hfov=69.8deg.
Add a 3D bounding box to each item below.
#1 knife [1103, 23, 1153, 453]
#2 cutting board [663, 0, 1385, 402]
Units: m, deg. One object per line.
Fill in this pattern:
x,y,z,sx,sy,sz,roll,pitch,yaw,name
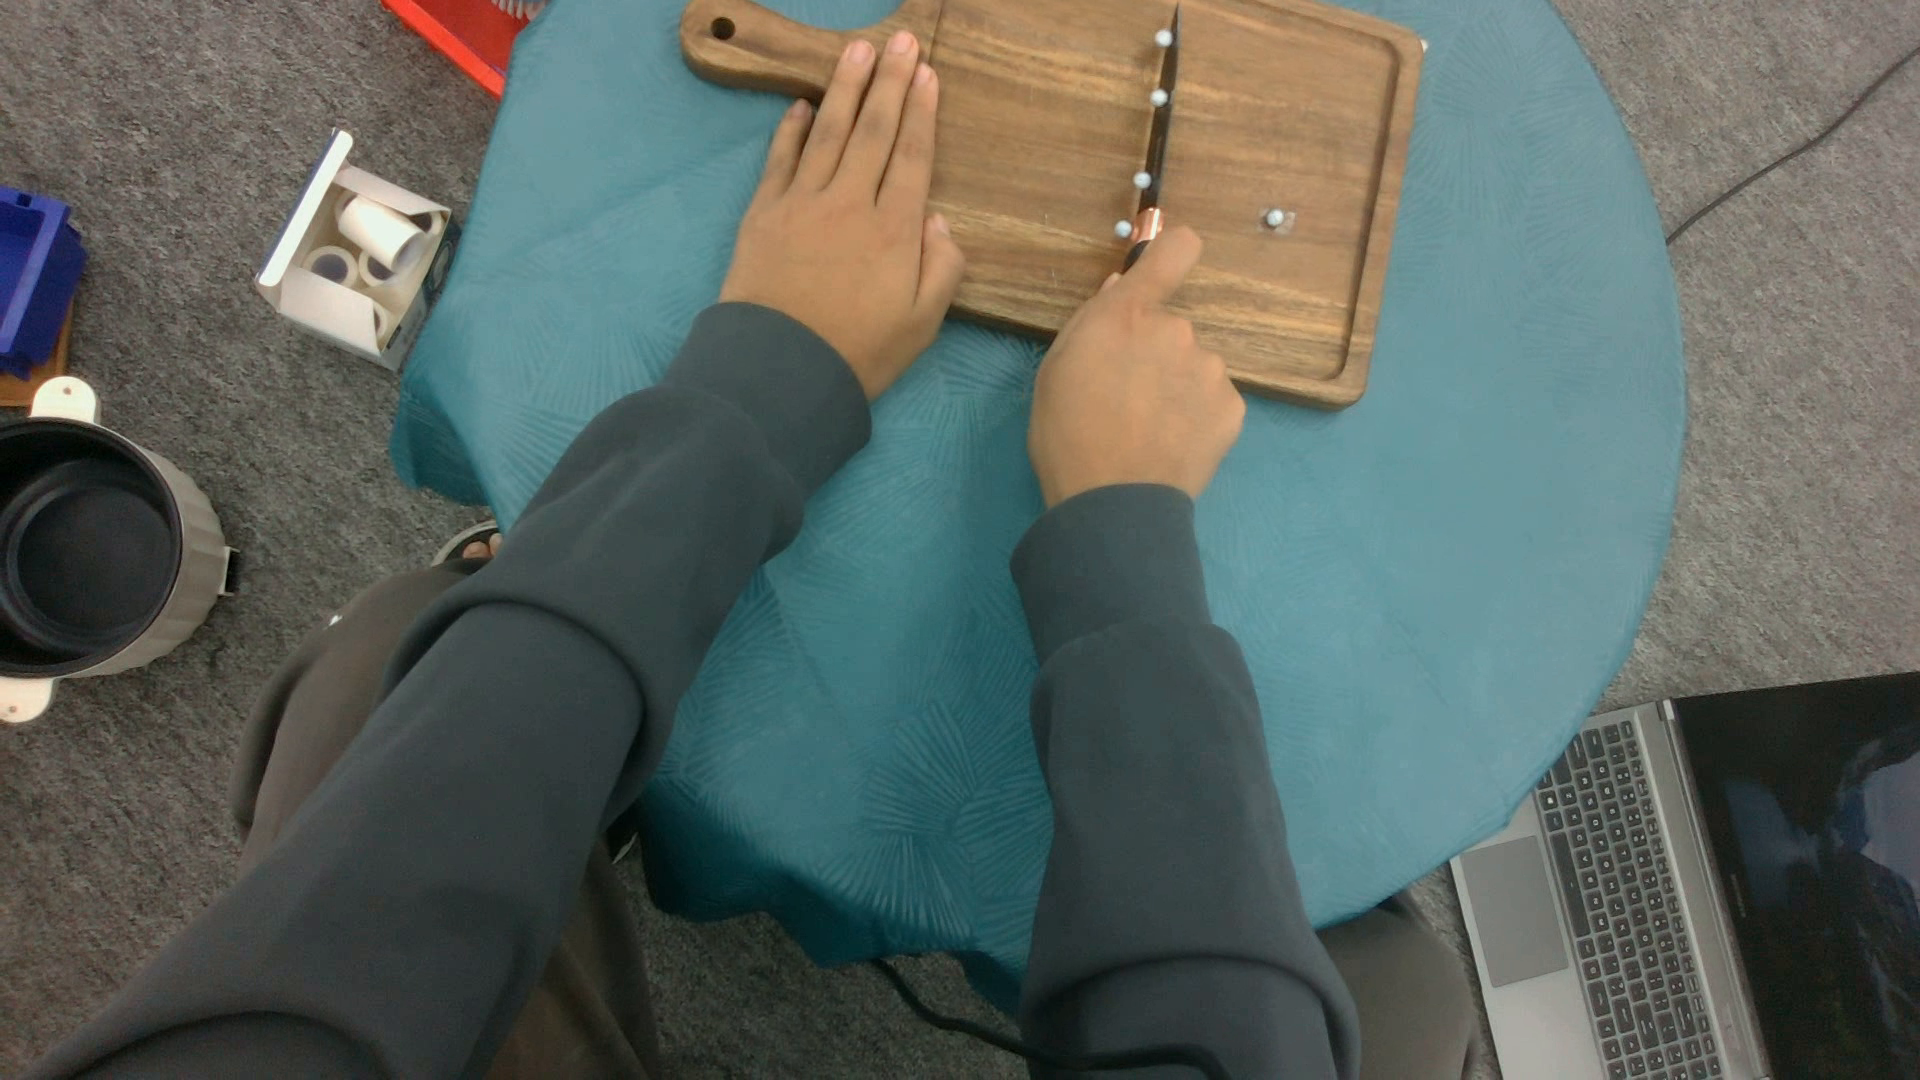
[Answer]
0.082,-0.148,0.654,0.017,0.026,0.226,9,77,-16,knife
0.033,-0.191,0.670,0.352,0.023,0.201,10,80,-7,cutting board
